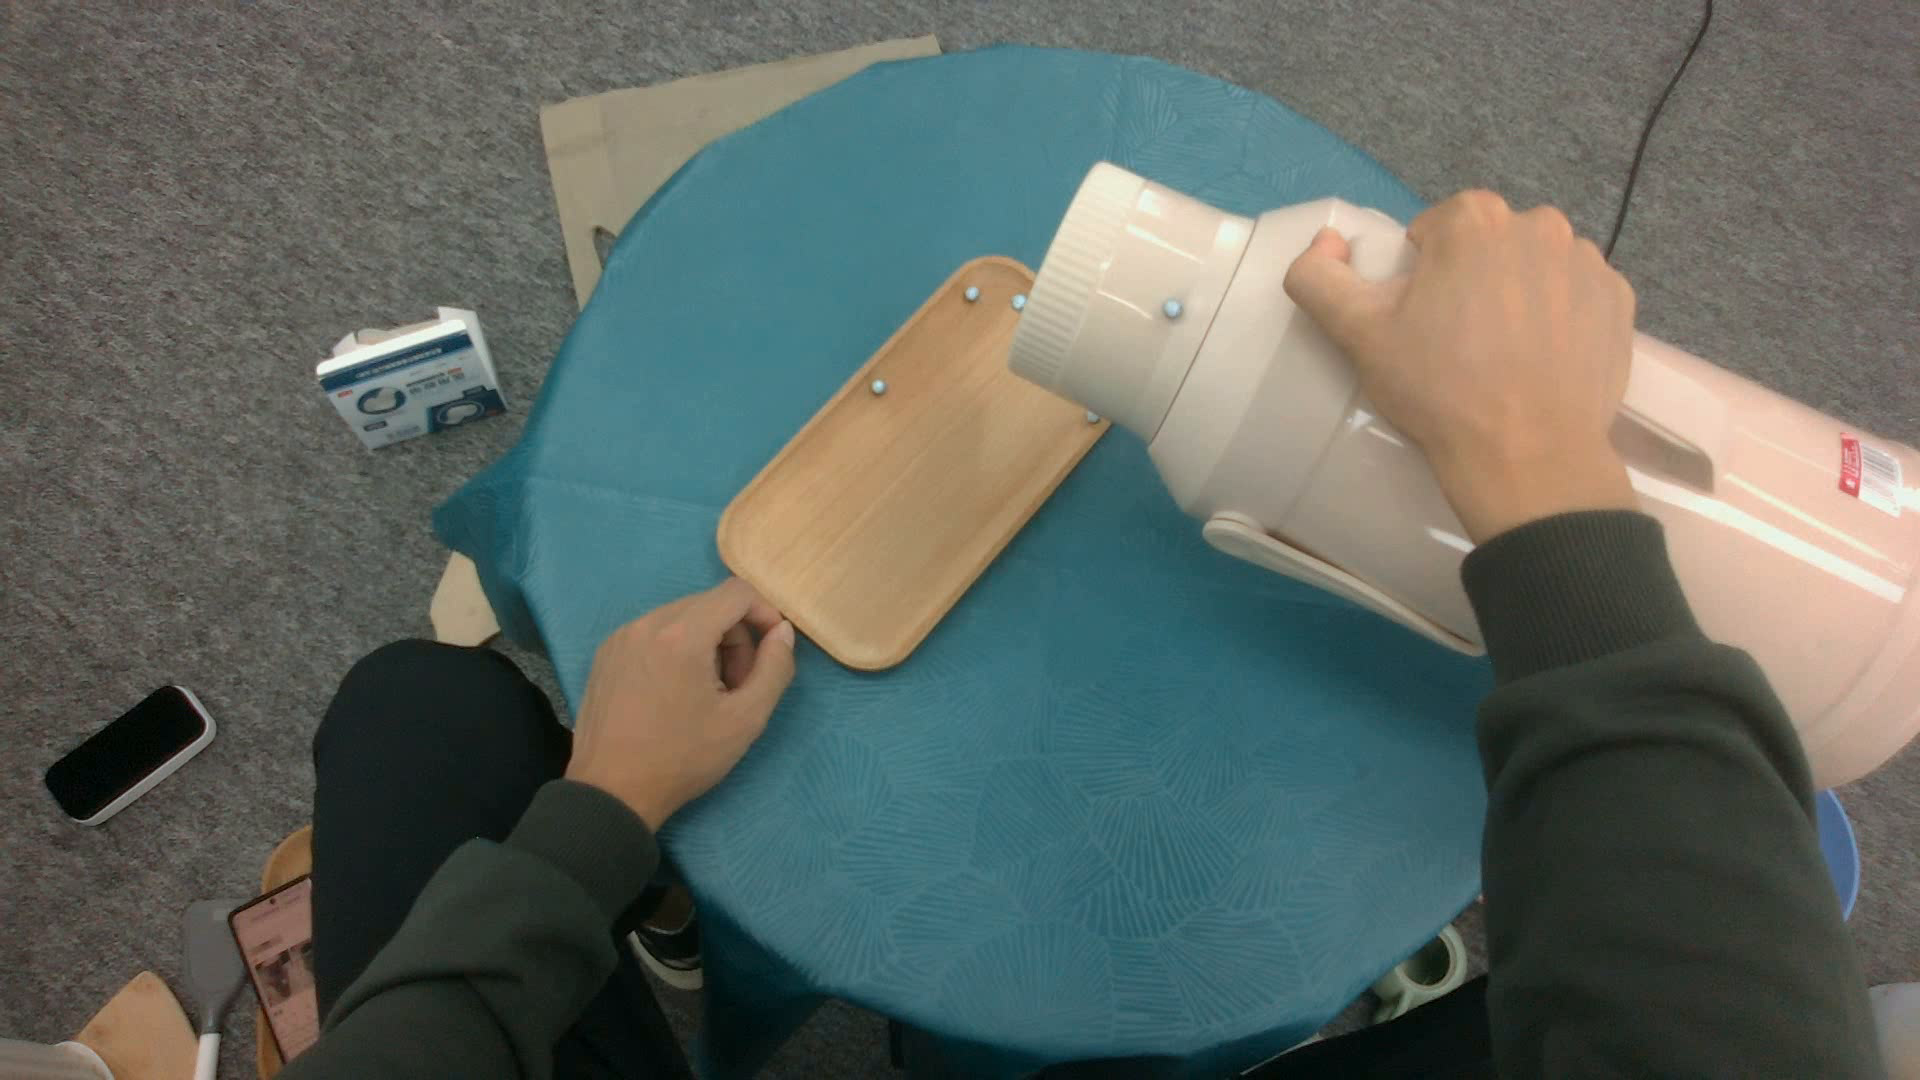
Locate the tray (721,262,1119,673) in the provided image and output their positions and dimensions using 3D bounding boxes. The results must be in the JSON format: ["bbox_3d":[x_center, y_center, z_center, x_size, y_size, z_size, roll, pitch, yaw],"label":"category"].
[{"bbox_3d":[-0.013,-0.046,0.776,0.130,0.023,0.251,39,72,11],"label":"tray"}]

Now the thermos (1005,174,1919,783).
[{"bbox_3d":[0.225,-0.044,0.628,0.406,0.206,0.176,25,75,4],"label":"thermos"}]
